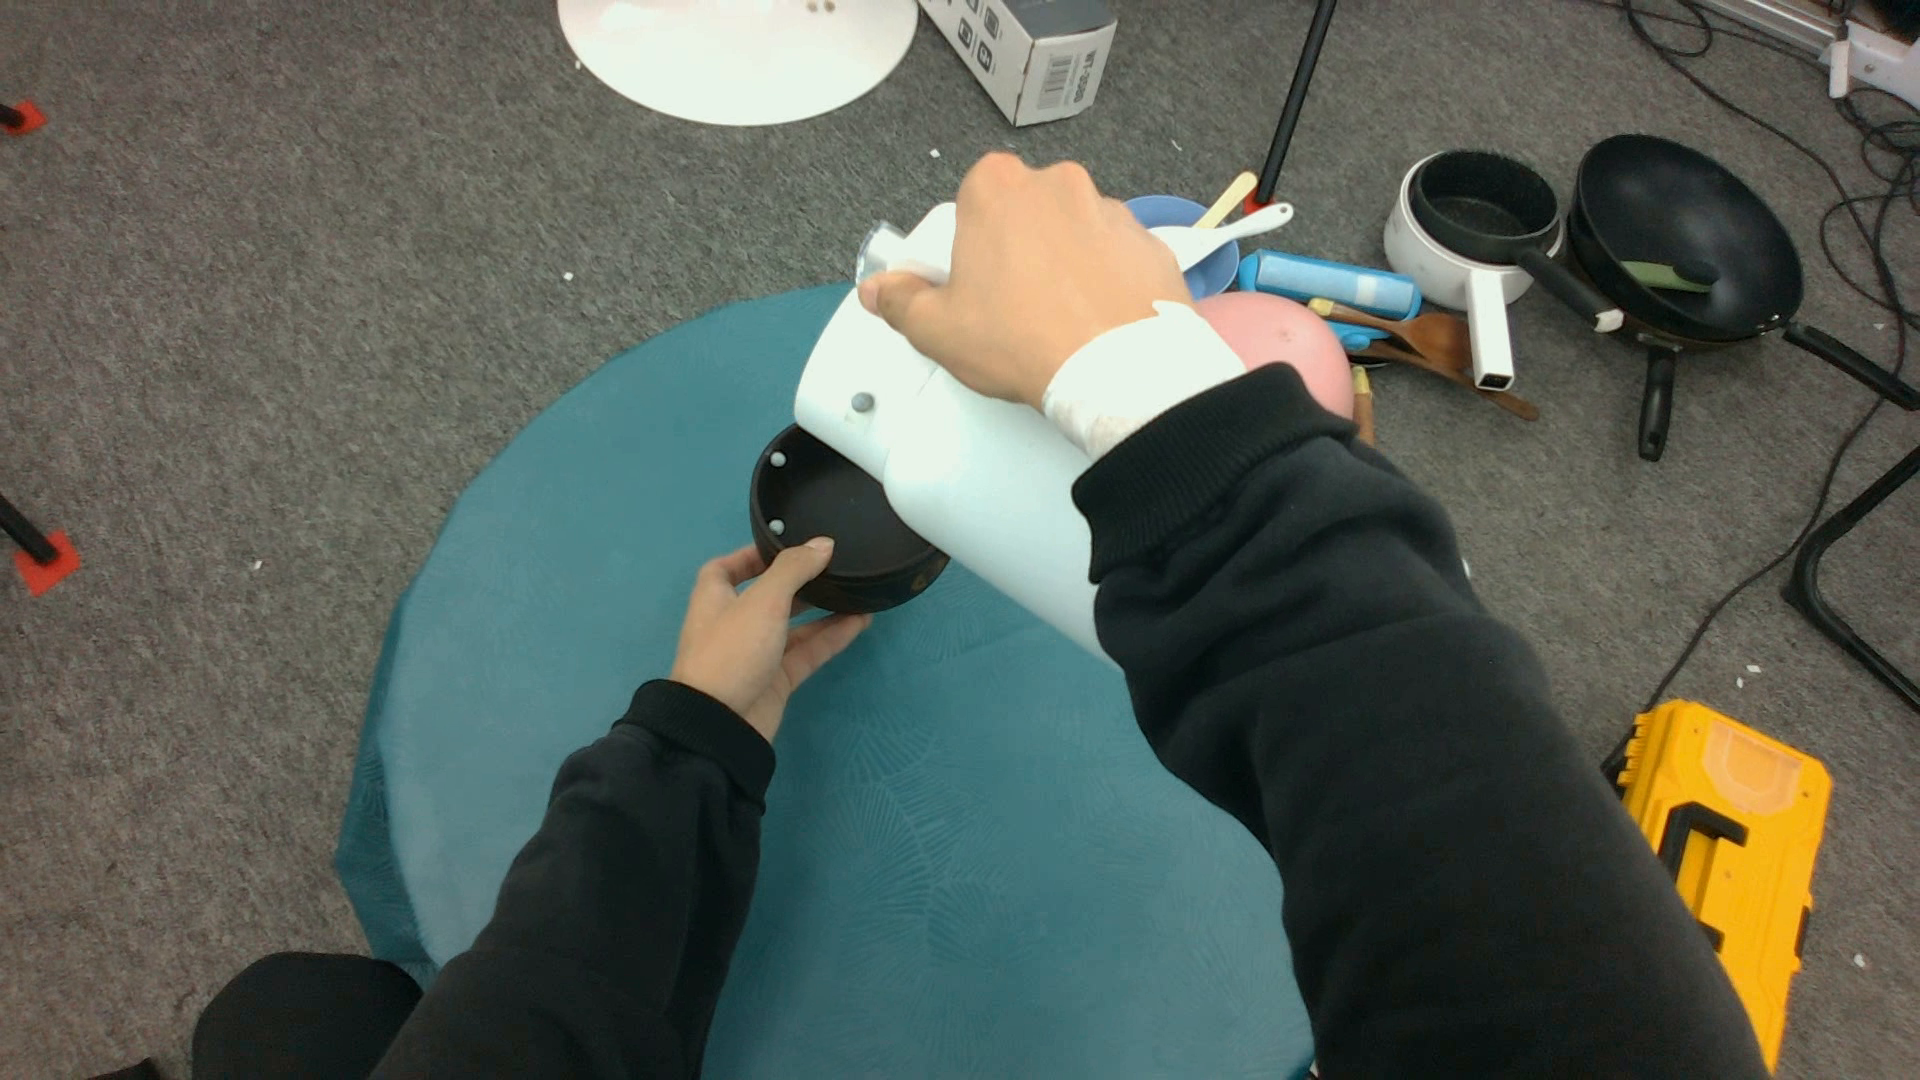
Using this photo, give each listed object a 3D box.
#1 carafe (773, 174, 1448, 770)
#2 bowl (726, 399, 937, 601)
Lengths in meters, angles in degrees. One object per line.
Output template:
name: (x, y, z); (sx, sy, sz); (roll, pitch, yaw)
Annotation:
carafe: (0.061, -0.033, 0.557); (0.269, 0.172, 0.124); (36, 64, 8)
bowl: (-0.069, -0.017, 0.762); (0.118, 0.069, 0.118); (4, 56, -5)
